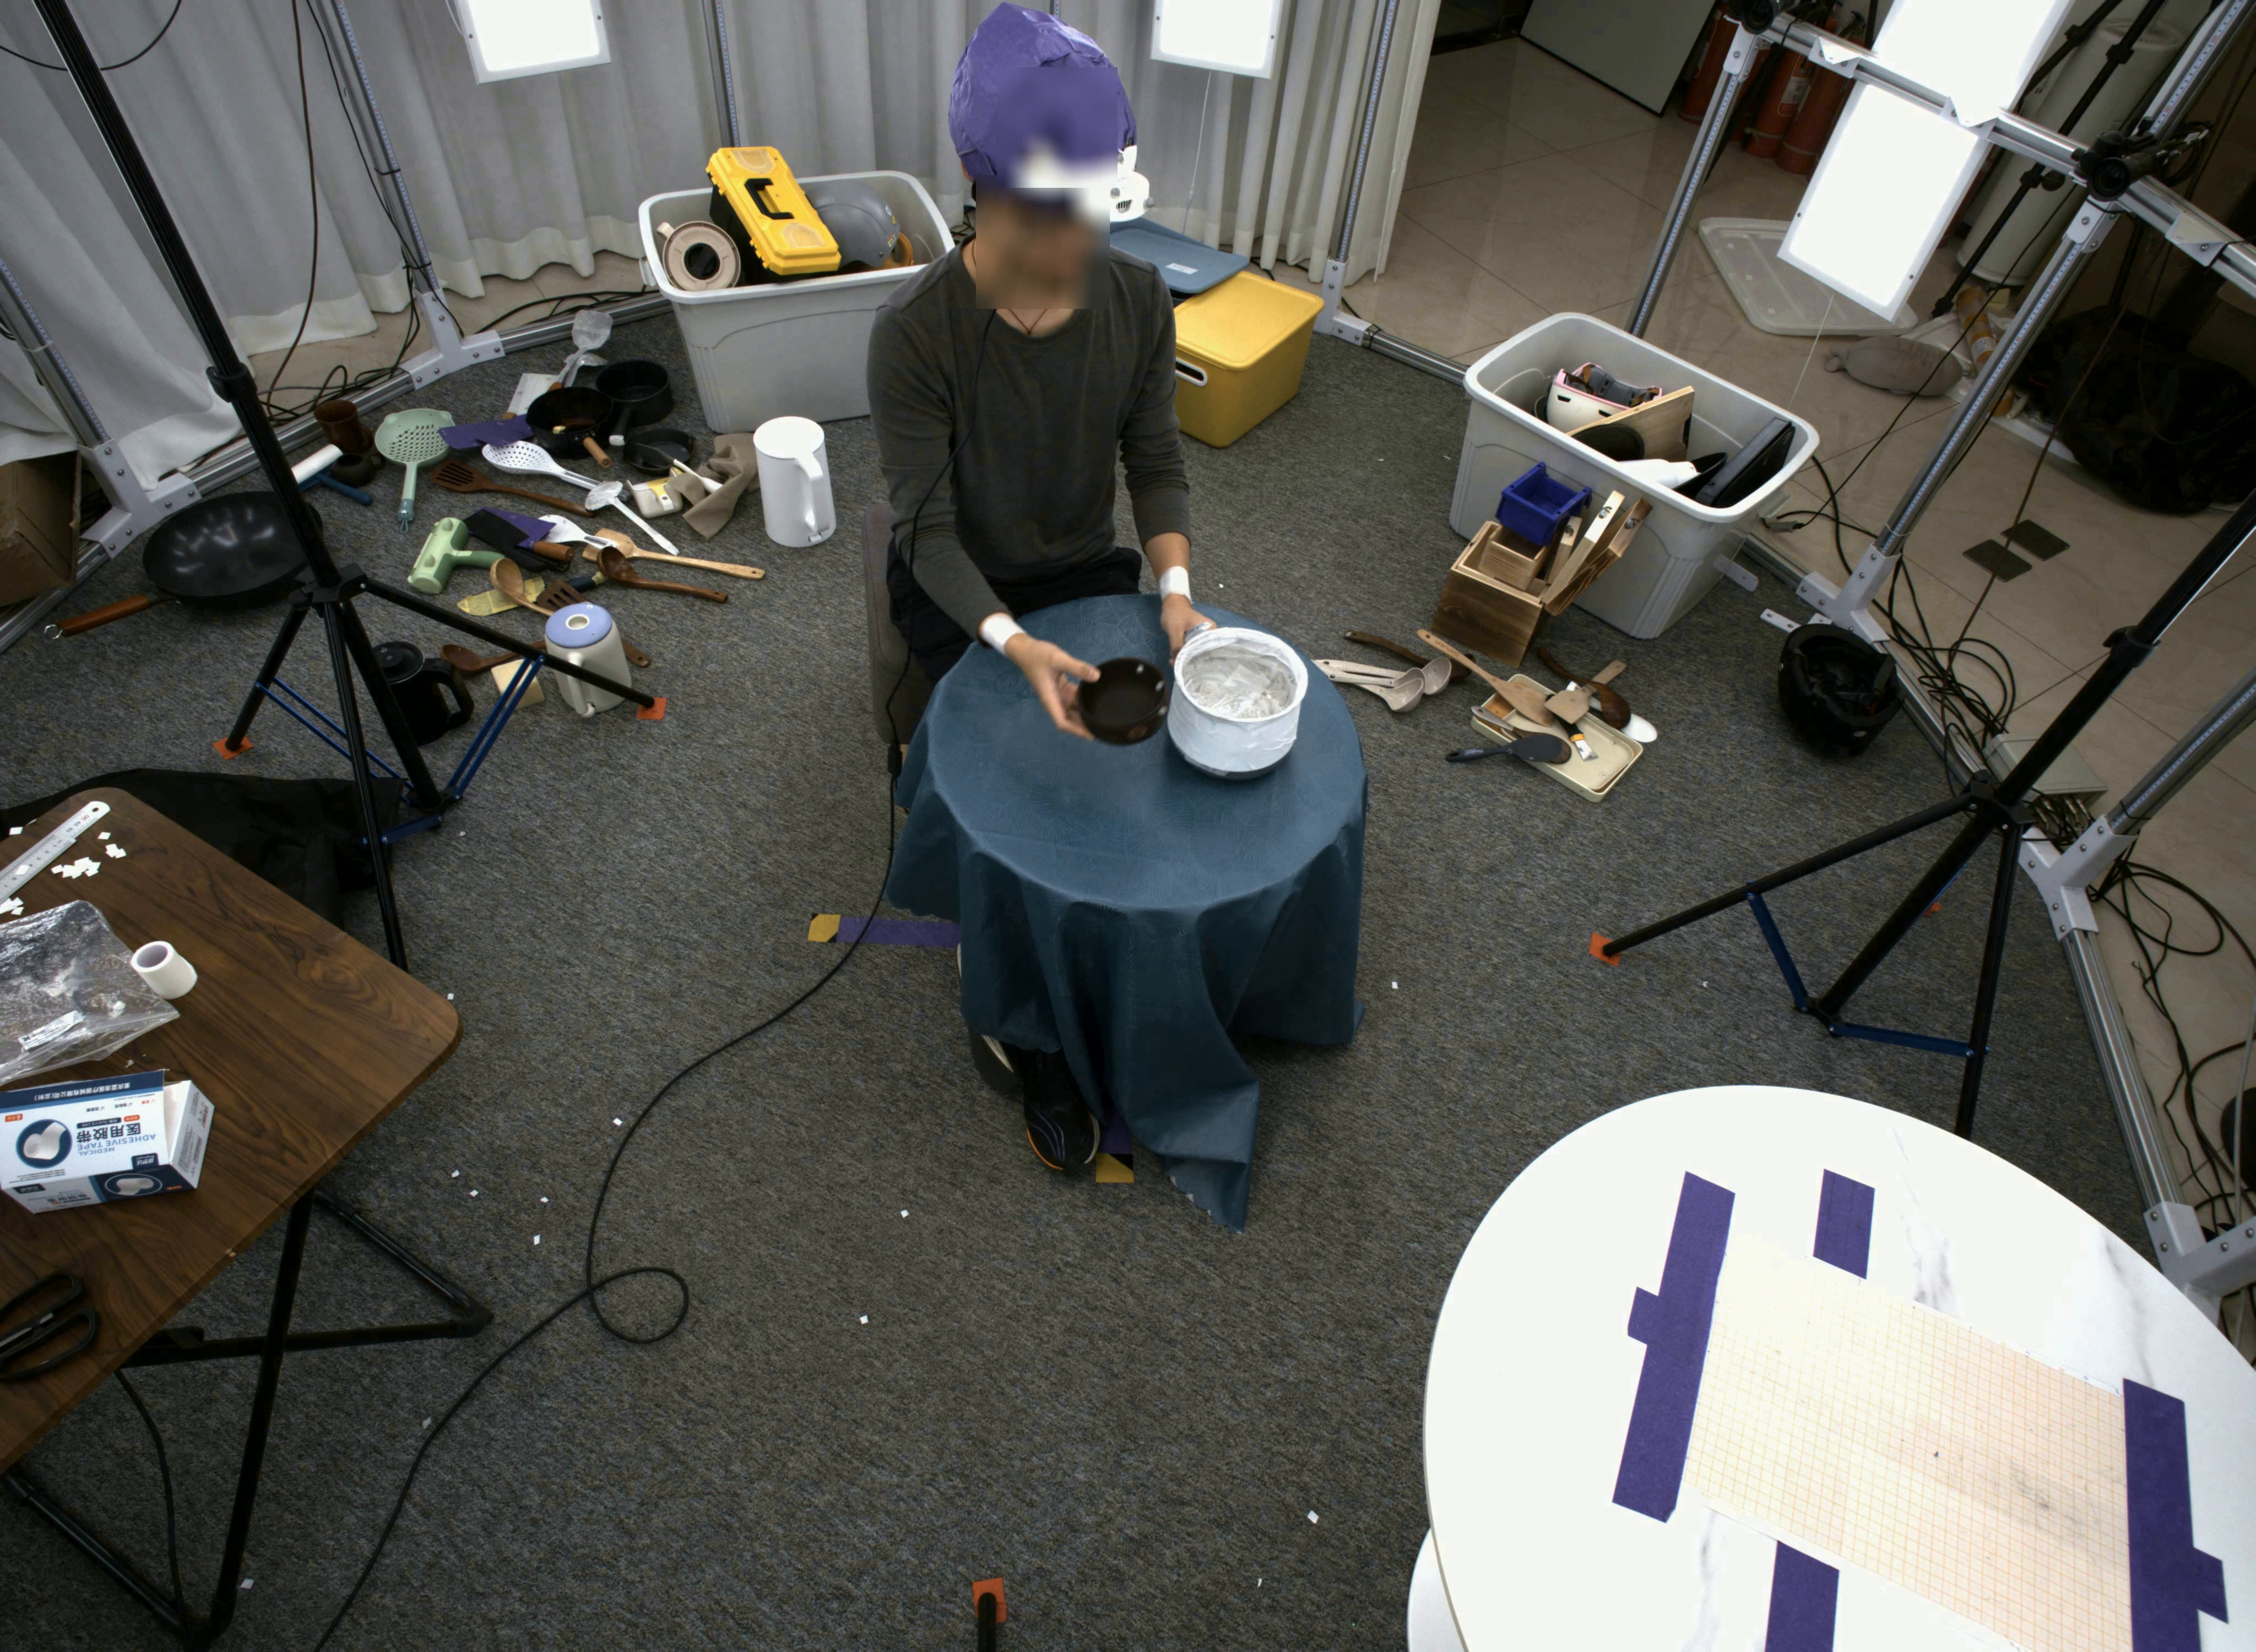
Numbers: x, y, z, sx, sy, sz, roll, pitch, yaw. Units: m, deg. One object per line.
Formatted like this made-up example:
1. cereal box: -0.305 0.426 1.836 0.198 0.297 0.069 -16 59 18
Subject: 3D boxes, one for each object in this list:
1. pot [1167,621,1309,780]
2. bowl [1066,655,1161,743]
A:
1. pot: 0.131 -0.180 1.742 0.179 0.133 0.239 -19 54 -20
2. bowl: -0.015 -0.152 1.622 0.118 0.068 0.121 -8 47 9
